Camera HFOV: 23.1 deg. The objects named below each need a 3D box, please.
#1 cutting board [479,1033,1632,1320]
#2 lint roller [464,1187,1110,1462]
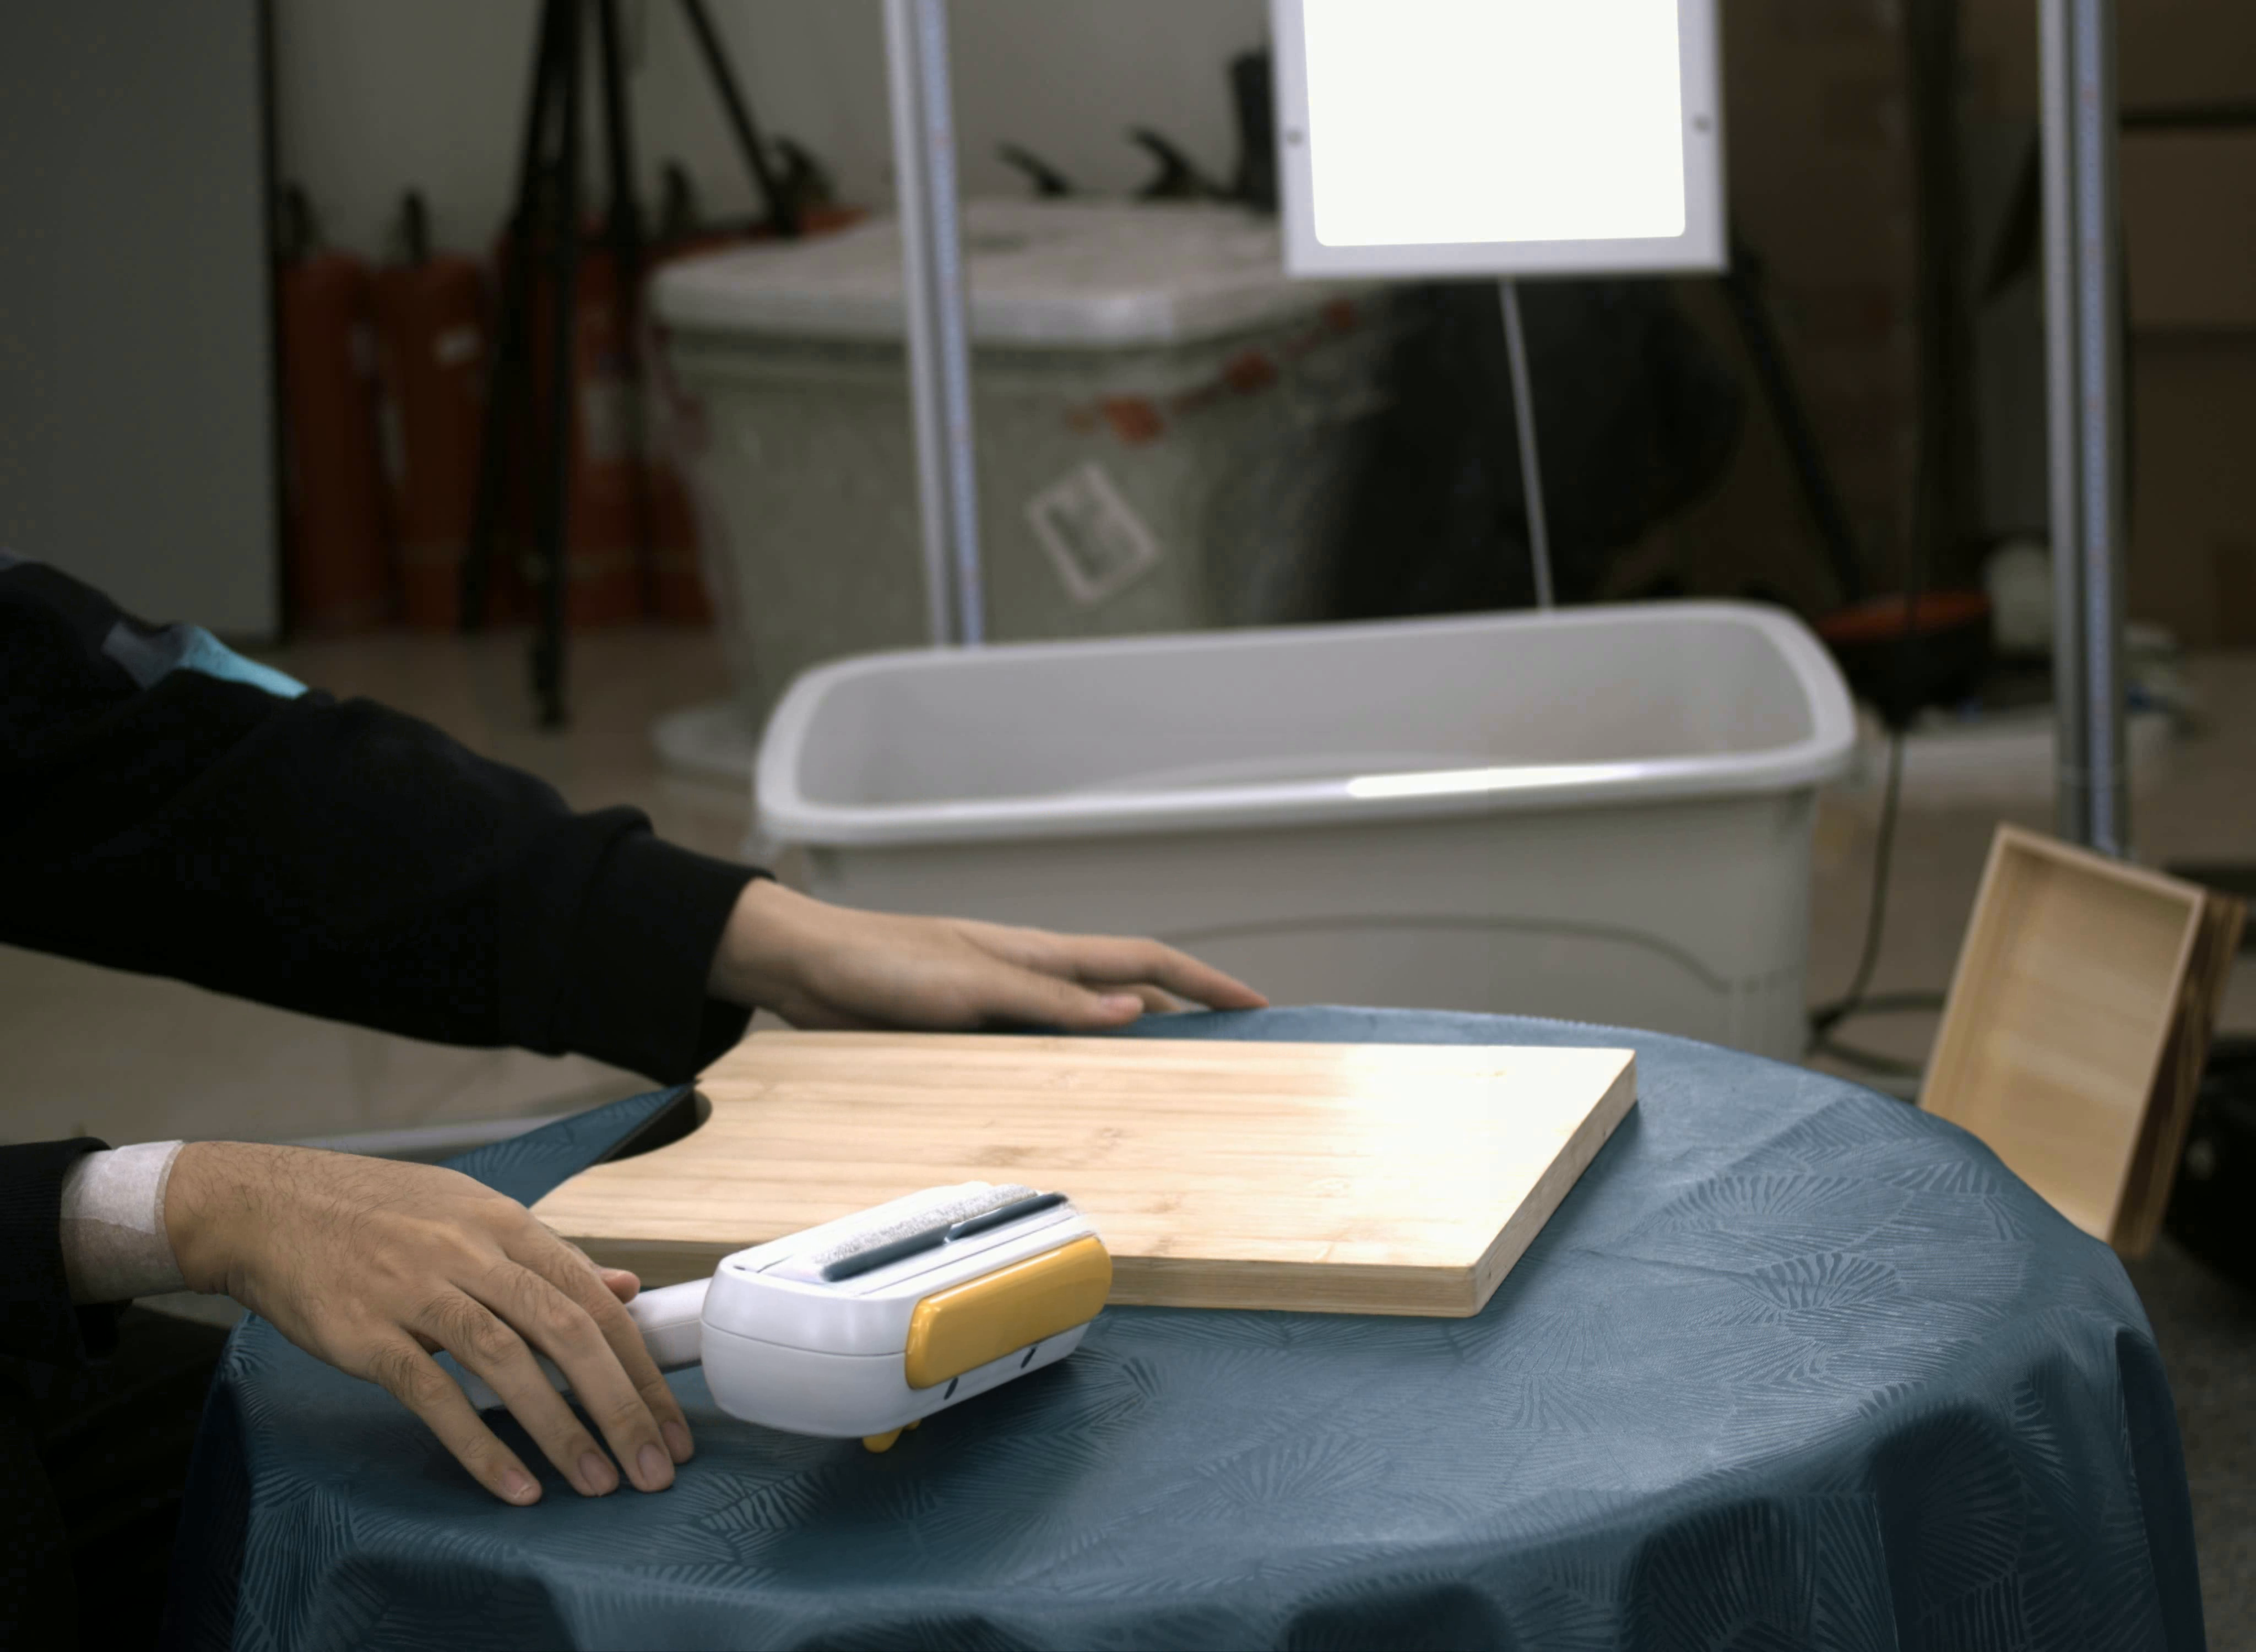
[{"bbox_3d":[-0.020,0.118,1.906,0.353,0.023,0.246,0,14,20],"label":"cutting board"},{"bbox_3d":[-0.121,0.152,1.693,0.196,0.074,0.189,0,9,28],"label":"lint roller"}]
